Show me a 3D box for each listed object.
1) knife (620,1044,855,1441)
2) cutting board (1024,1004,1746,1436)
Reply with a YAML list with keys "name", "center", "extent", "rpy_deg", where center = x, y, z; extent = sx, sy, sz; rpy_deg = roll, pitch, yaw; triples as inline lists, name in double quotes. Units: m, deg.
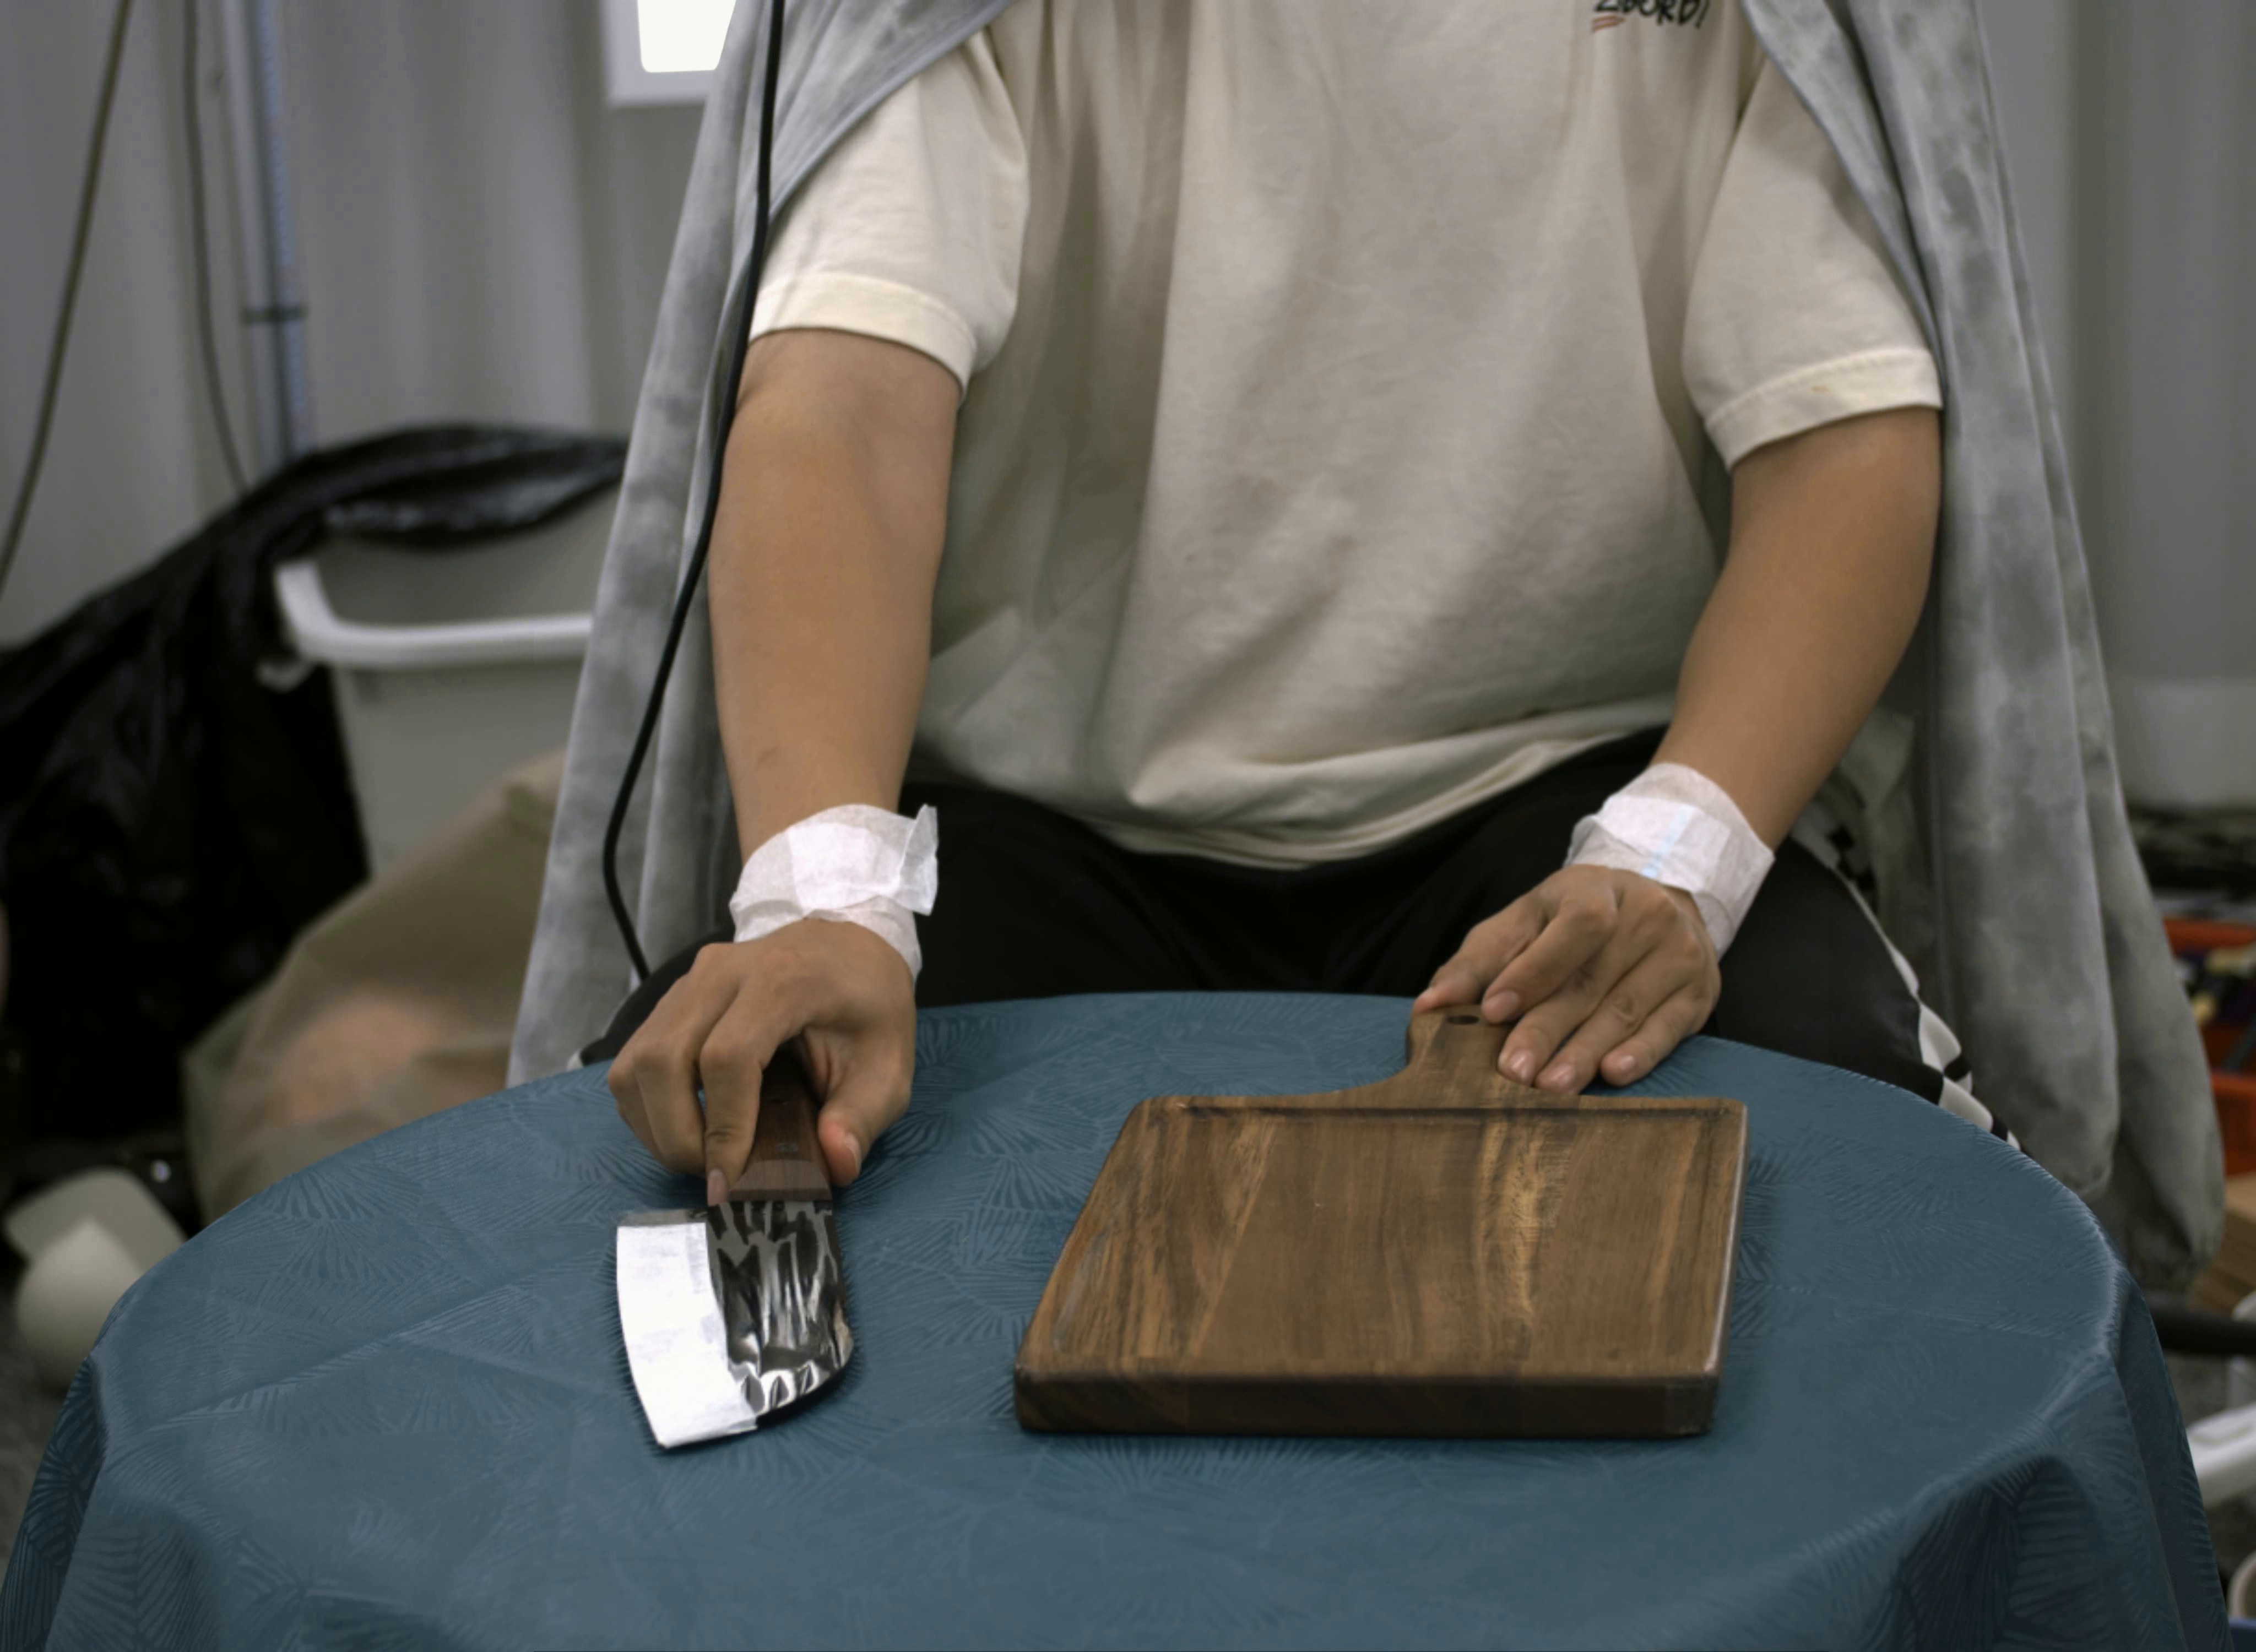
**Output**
- name: "knife"
  center: [-0.120, 0.126, 1.661]
  extent: [0.068, 0.024, 0.302]
  rpy_deg: [-4, 17, -4]
- name: "cutting board"
  center: [0.089, 0.114, 1.666]
  extent: [0.200, 0.023, 0.354]
  rpy_deg: [-1, 14, 8]
